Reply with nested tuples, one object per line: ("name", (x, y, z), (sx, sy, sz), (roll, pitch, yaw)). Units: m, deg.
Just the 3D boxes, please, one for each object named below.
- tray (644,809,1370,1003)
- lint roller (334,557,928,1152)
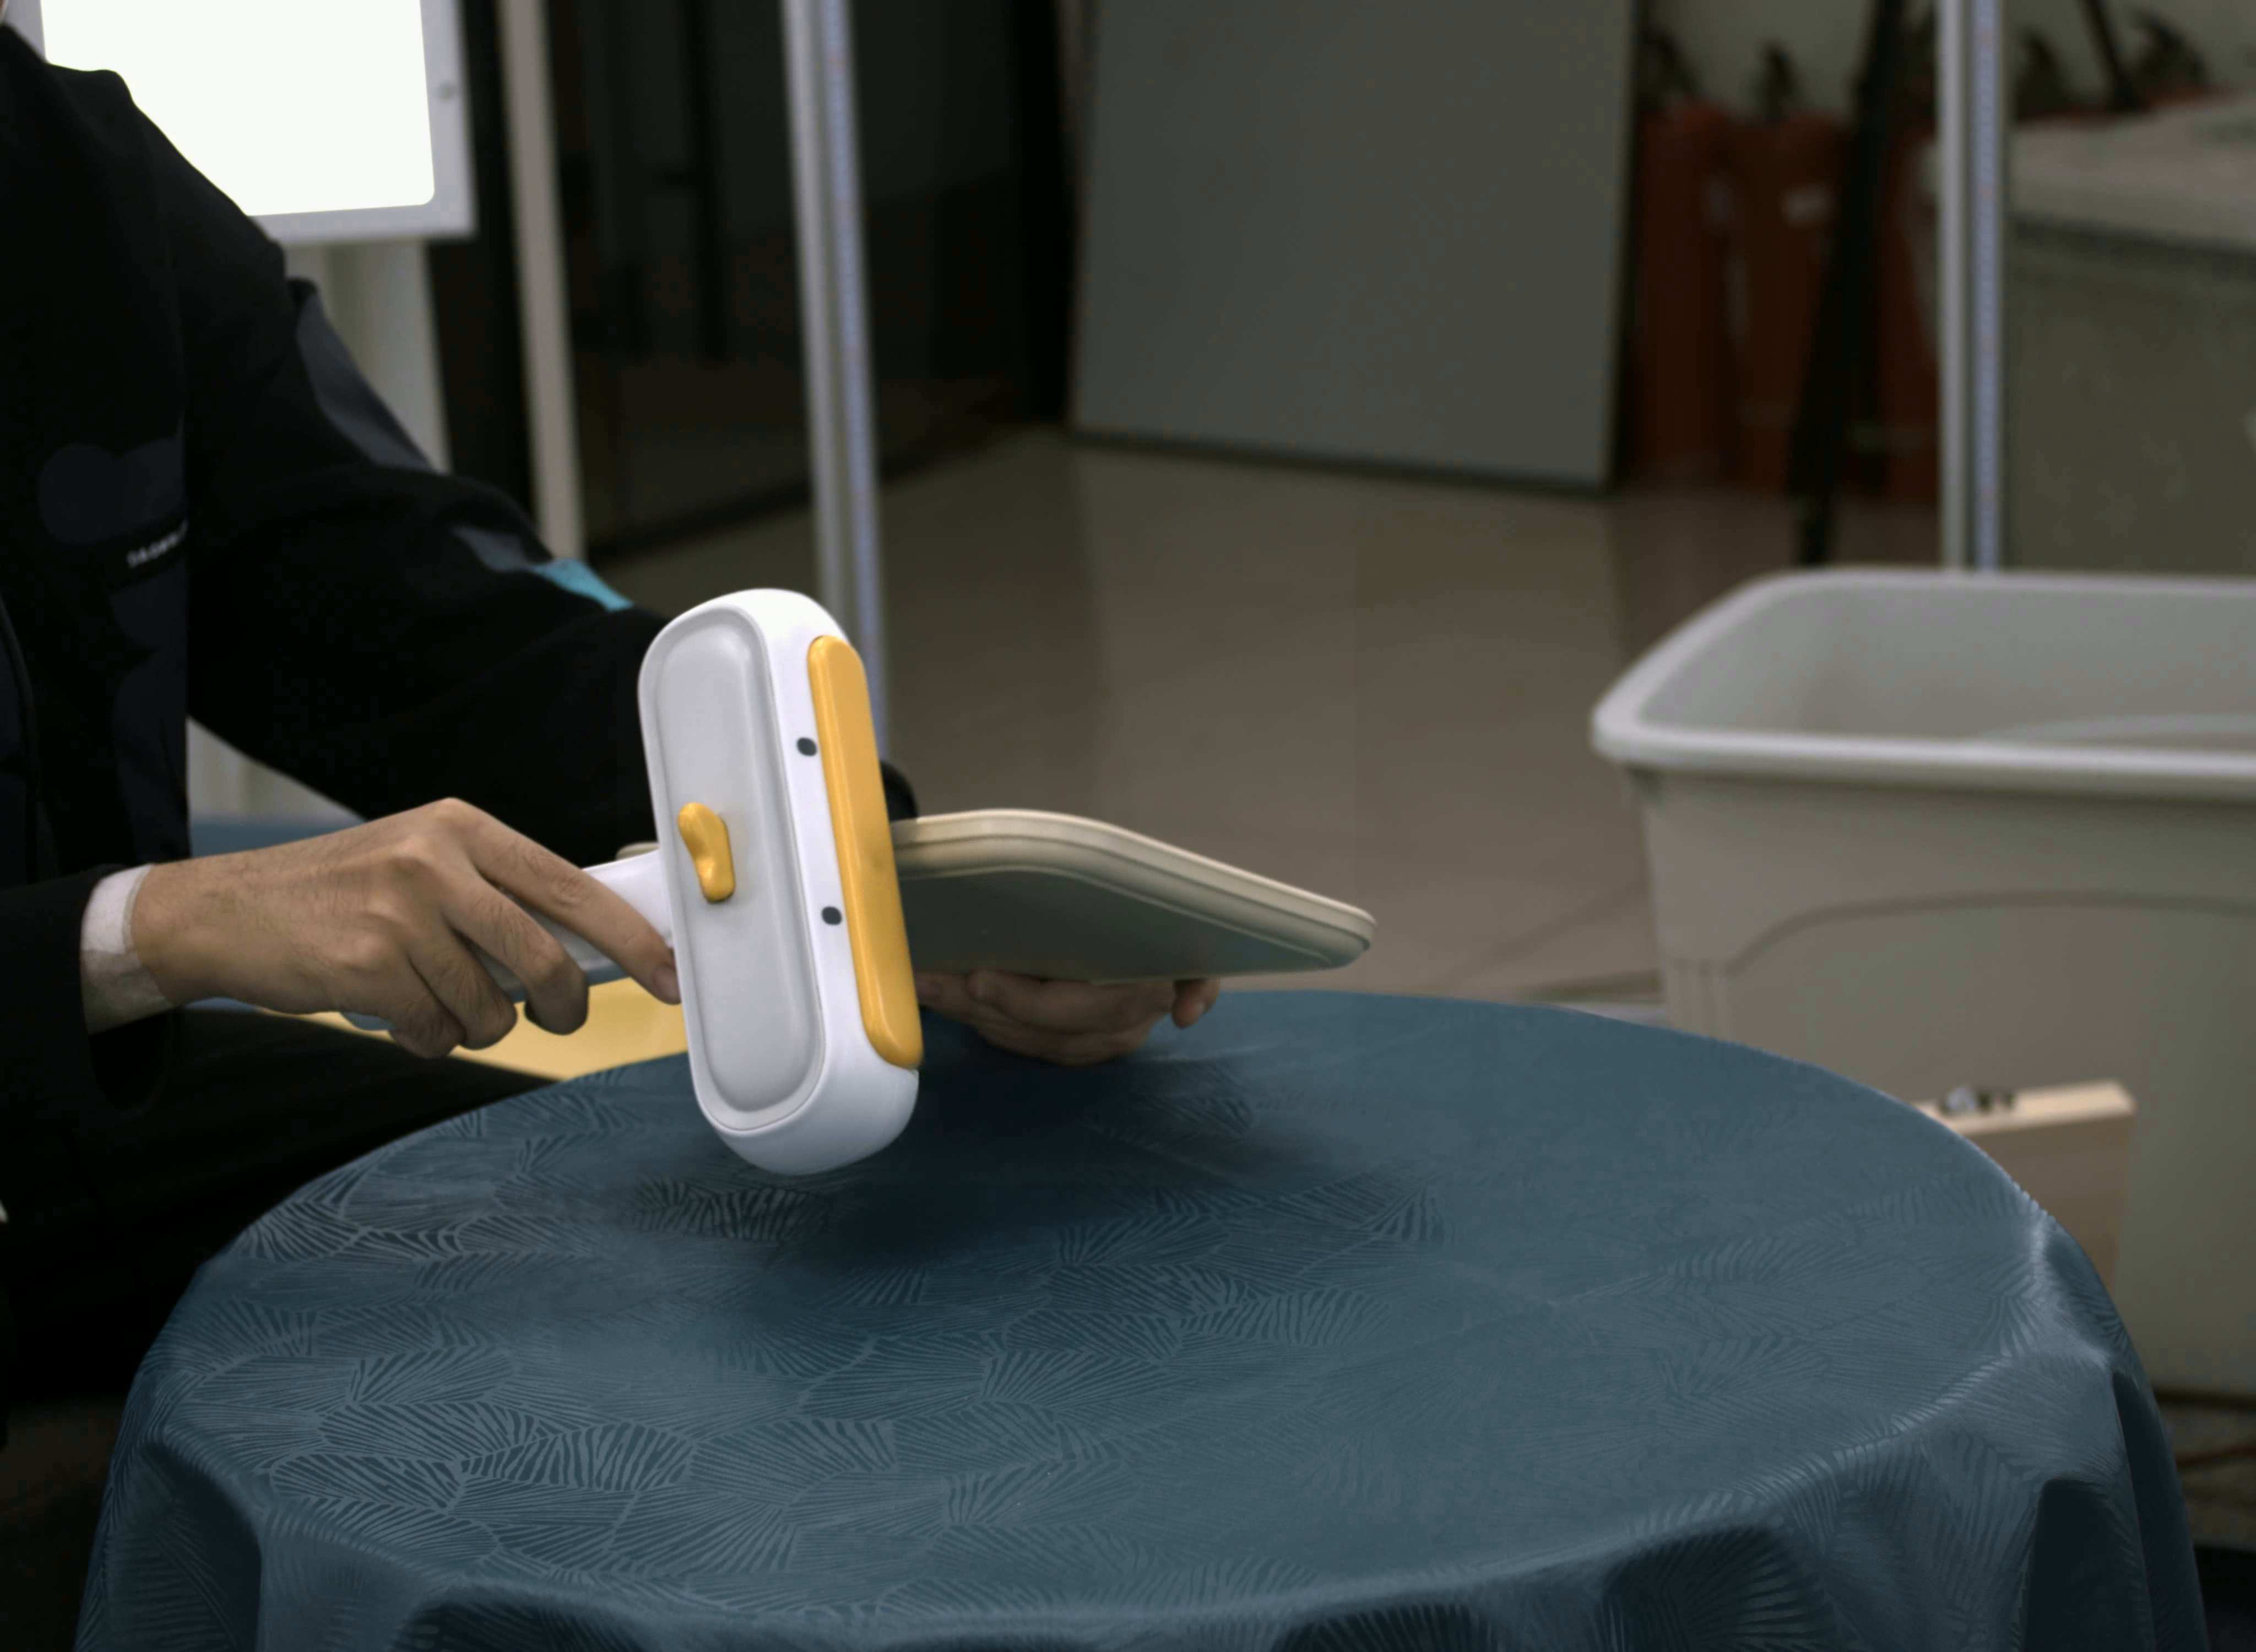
("tray", (-0.048, 0.031, 1.808), (0.167, 0.018, 0.242), (18, -17, -39))
("lint roller", (-0.164, 0.028, 1.731), (0.193, 0.195, 0.073), (-23, -19, 23))
